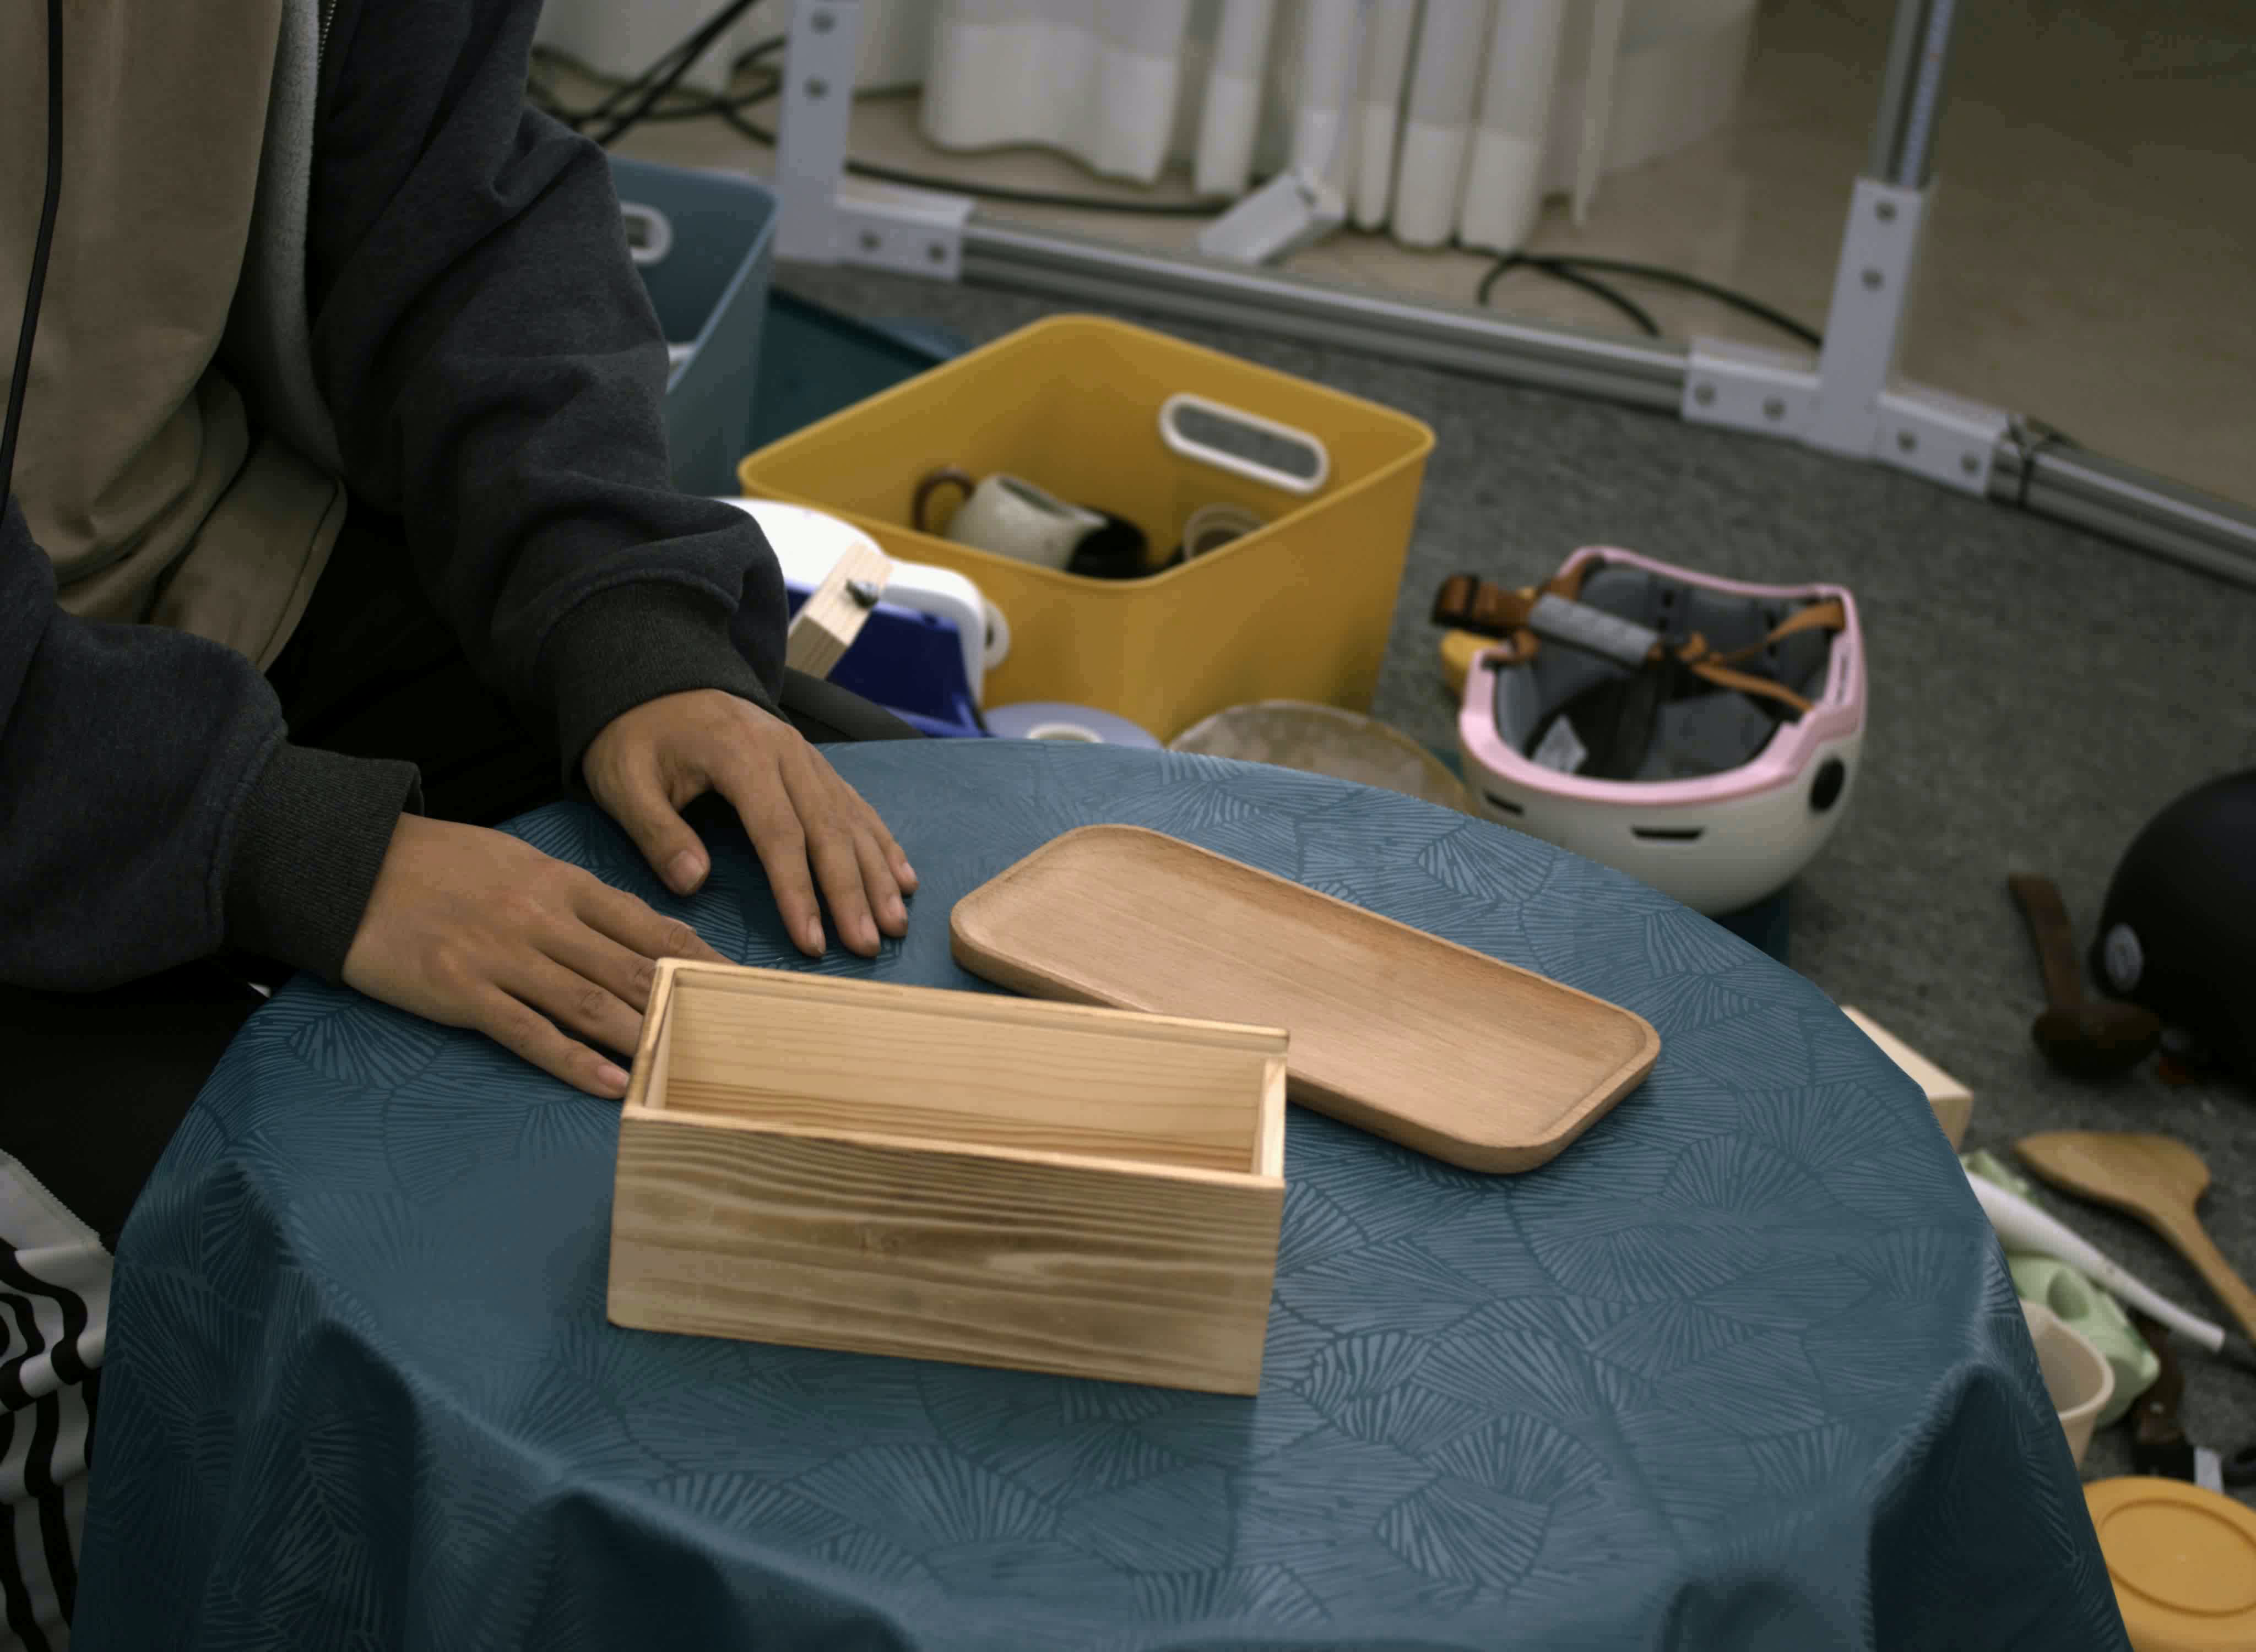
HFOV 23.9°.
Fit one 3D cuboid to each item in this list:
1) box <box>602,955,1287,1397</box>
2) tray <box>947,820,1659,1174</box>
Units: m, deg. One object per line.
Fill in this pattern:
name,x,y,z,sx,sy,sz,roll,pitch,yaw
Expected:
box,-0.058,0.112,1.723,0.211,0.080,0.108,6,27,0
tray,0.061,0.060,1.920,0.252,0.023,0.130,20,27,26
